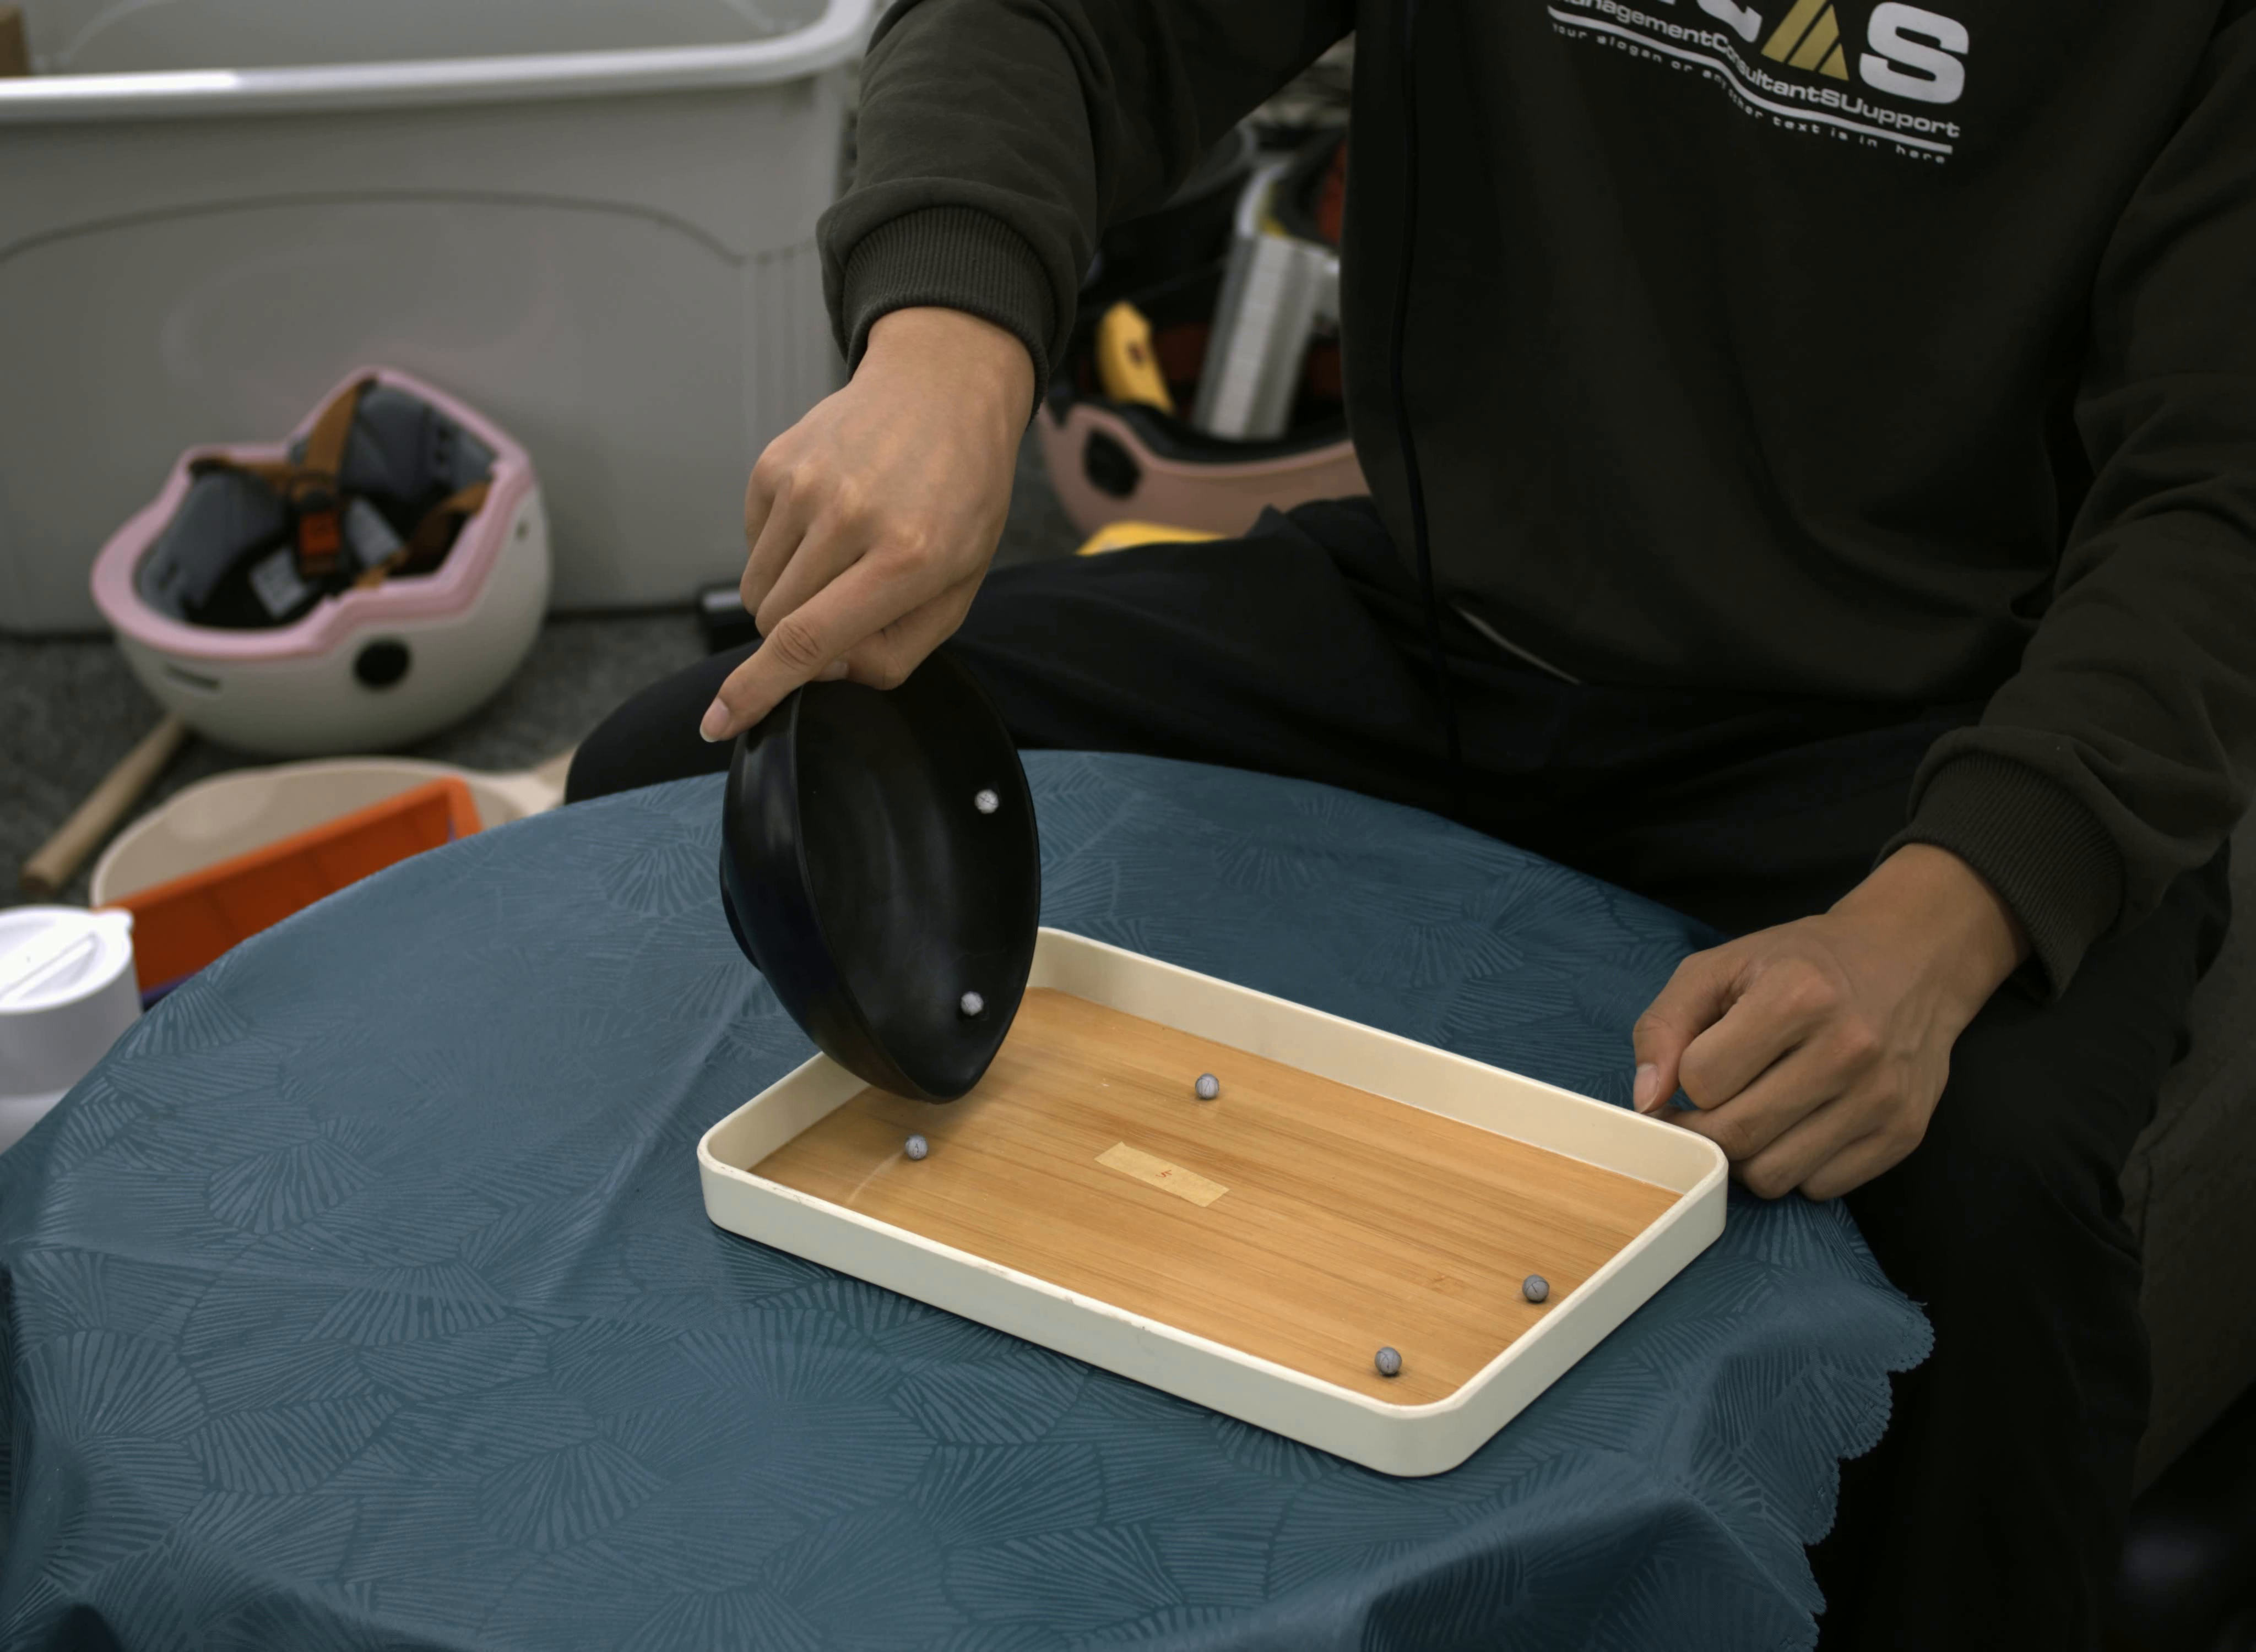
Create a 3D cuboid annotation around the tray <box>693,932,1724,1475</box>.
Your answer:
[{"bbox_3d":[0.025,0.118,1.841,0.299,0.027,0.194,16,32,33],"label":"tray"}]

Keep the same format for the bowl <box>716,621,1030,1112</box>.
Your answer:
[{"bbox_3d":[-0.093,0.014,1.883,0.066,0.169,0.140,-2,28,32],"label":"bowl"}]
